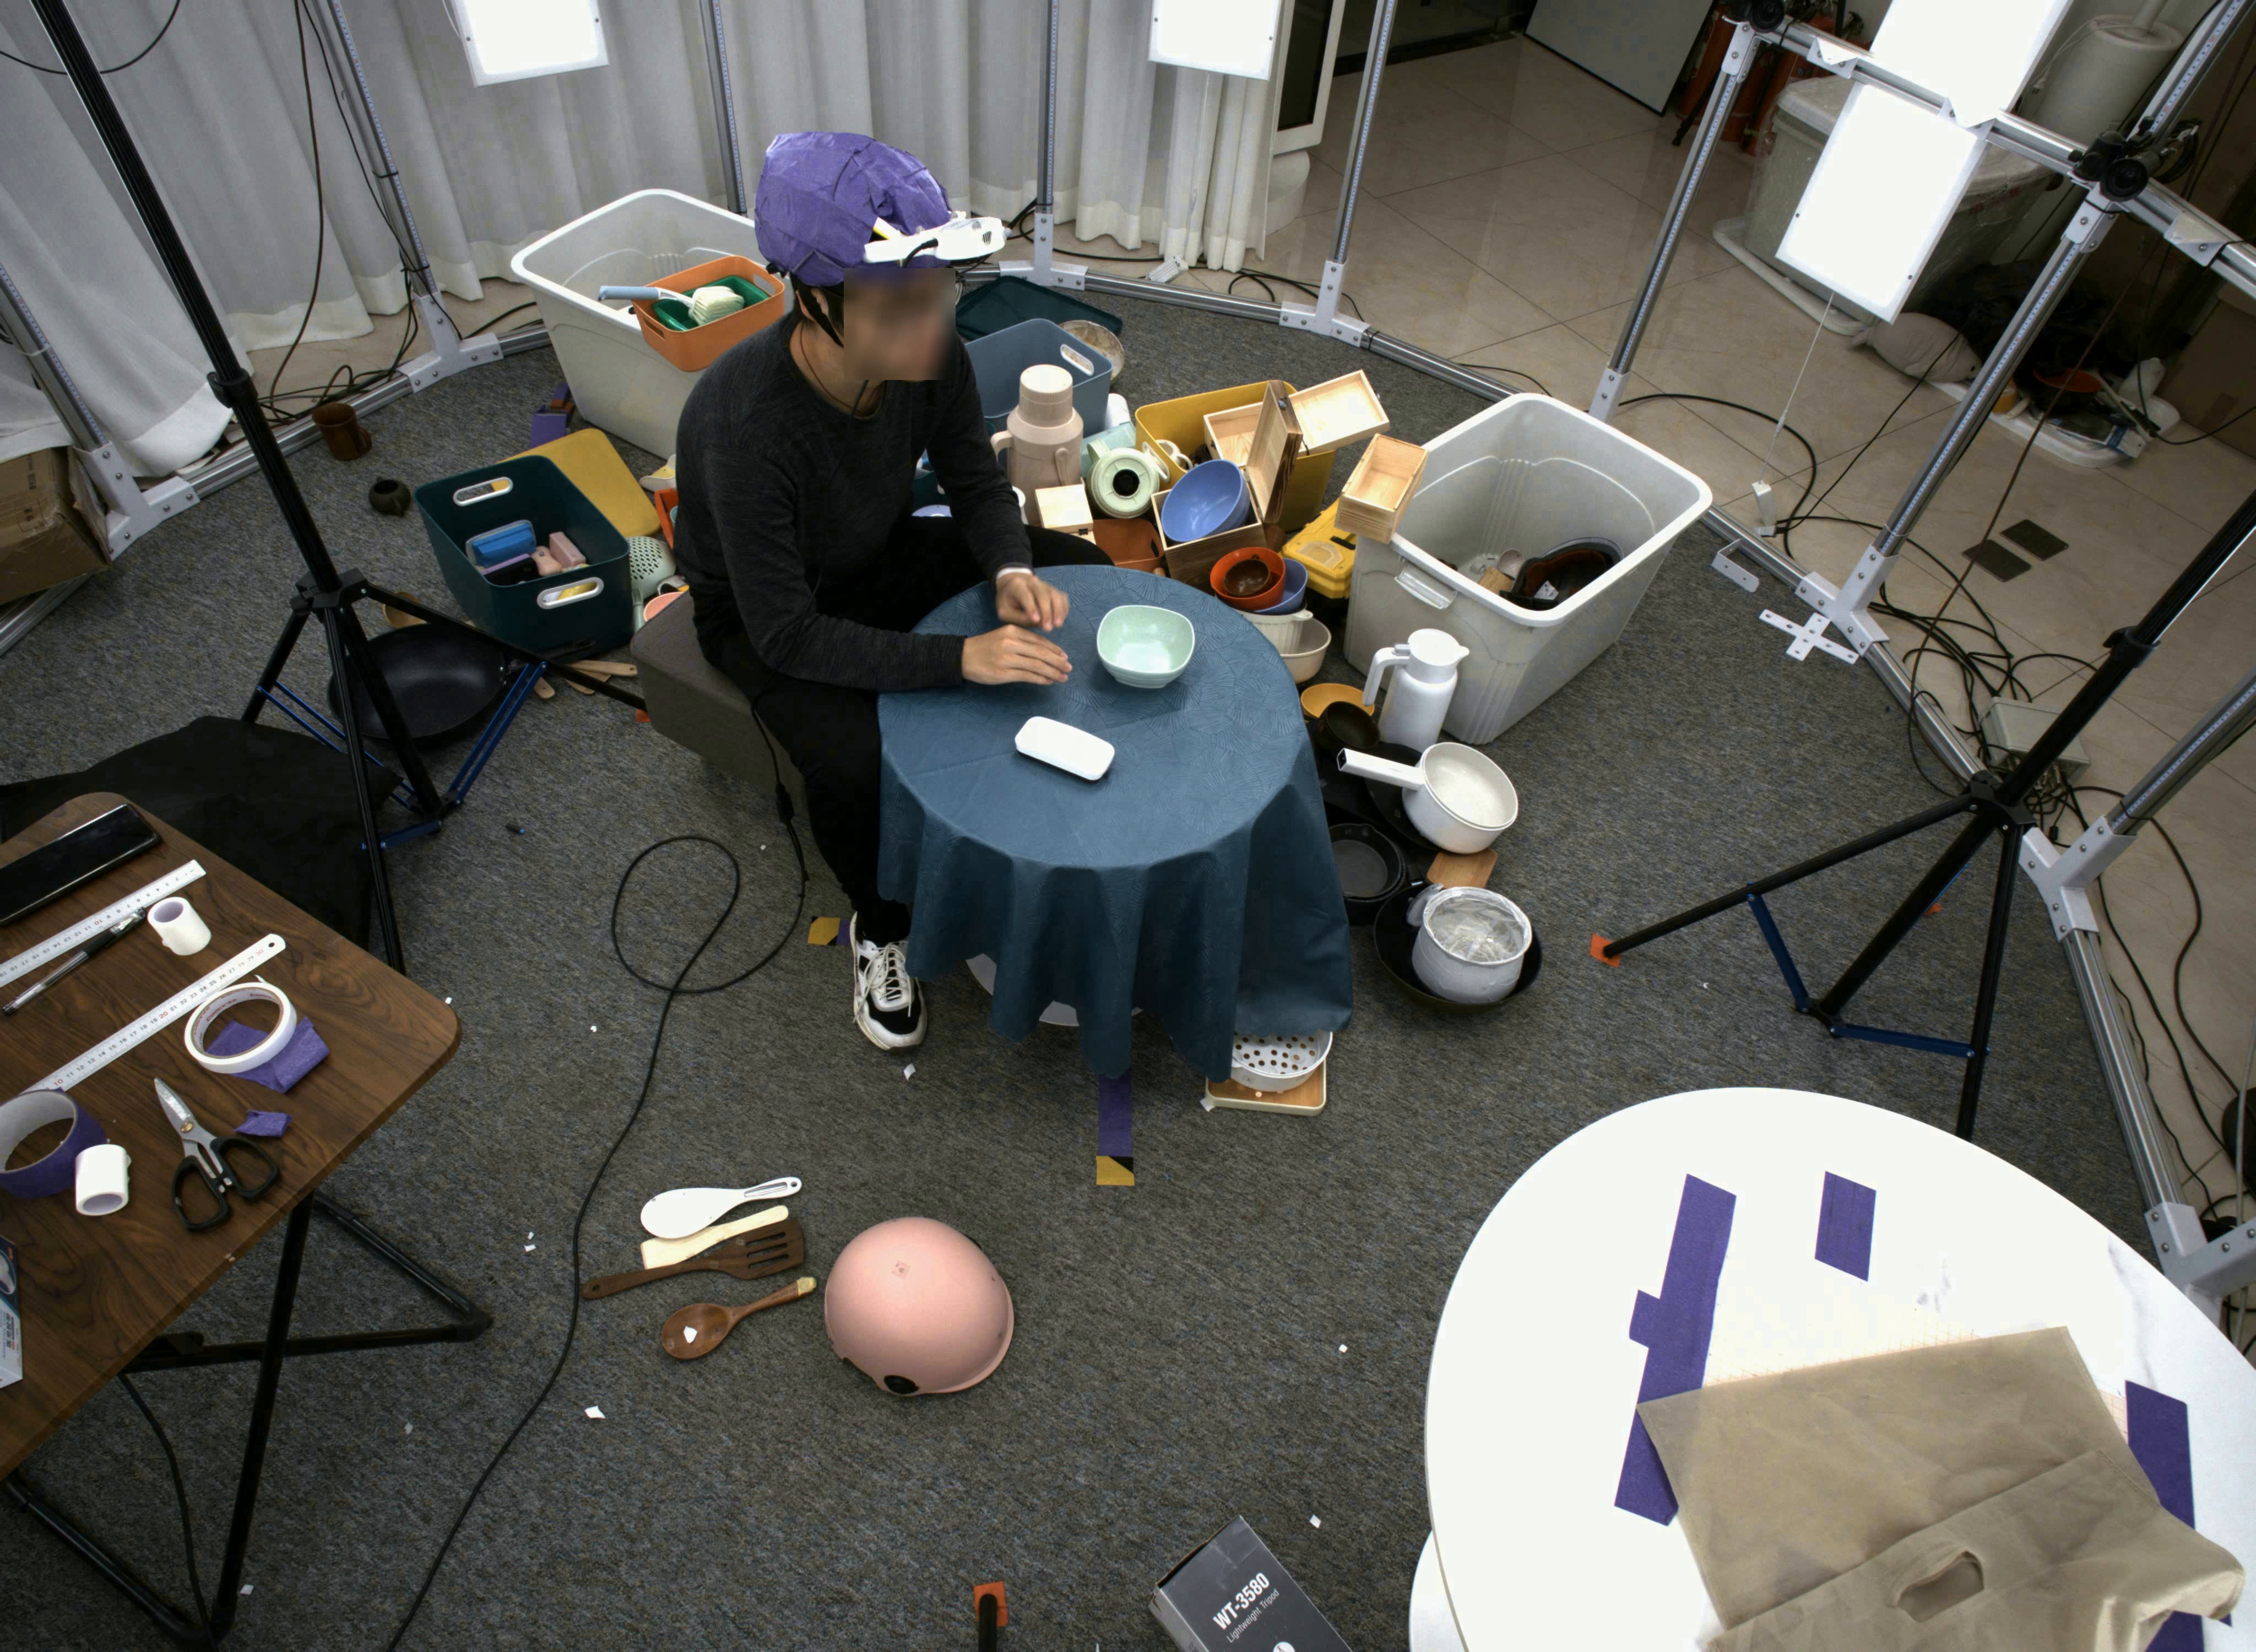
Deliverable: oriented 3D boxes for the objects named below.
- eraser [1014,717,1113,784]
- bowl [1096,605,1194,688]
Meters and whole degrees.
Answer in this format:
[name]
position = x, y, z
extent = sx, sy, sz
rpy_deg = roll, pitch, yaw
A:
[eraser]
position = -0.087, -0.105, 1.735
extent = 0.132, 0.034, 0.064
rpy_deg = 23, 49, 14
[bowl]
position = 0.022, -0.250, 1.853
extent = 0.151, 0.057, 0.155
rpy_deg = 3, 50, -4
